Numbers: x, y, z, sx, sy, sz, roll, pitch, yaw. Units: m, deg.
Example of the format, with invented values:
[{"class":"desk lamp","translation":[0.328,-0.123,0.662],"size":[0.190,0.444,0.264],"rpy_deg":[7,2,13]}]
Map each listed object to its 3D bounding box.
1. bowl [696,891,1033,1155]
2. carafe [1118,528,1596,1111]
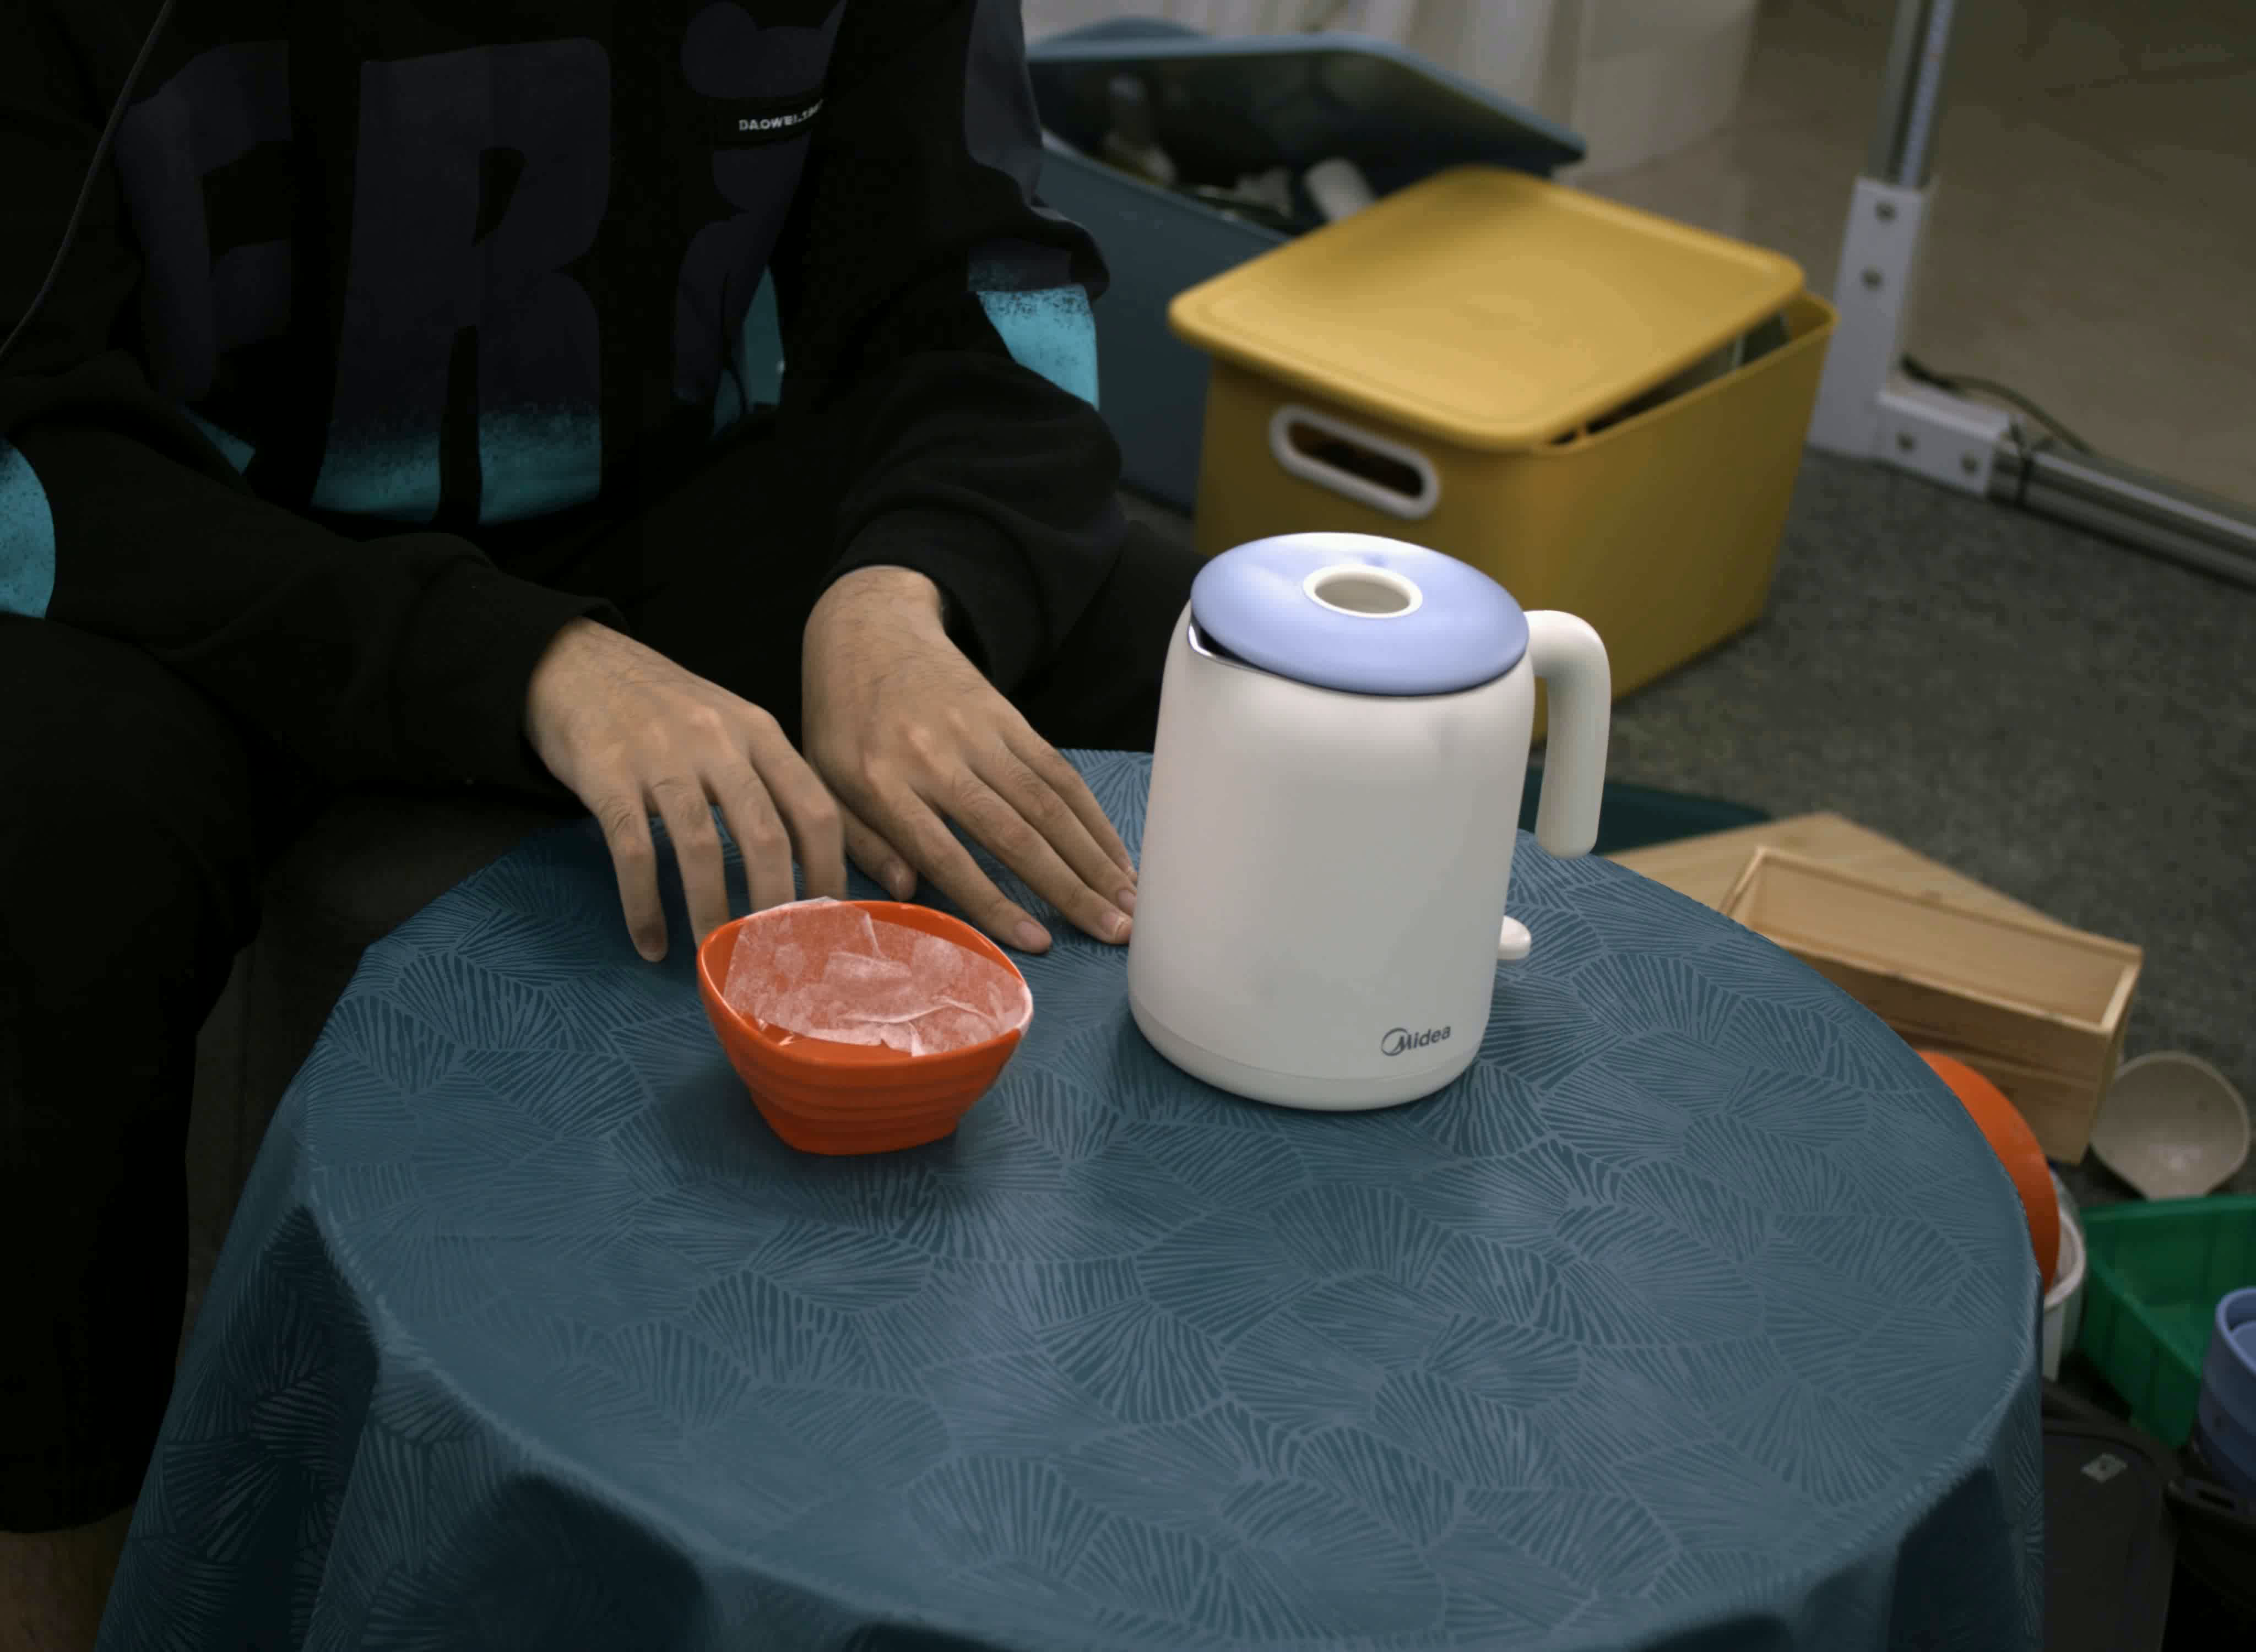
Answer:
[{"class":"bowl","translation":[-0.092,0.072,1.821],"size":[0.118,0.051,0.119],"rpy_deg":[4,30,-3]},{"class":"carafe","translation":[0.090,-0.006,1.888],"size":[0.190,0.182,0.133],"rpy_deg":[-10,32,-34]}]
